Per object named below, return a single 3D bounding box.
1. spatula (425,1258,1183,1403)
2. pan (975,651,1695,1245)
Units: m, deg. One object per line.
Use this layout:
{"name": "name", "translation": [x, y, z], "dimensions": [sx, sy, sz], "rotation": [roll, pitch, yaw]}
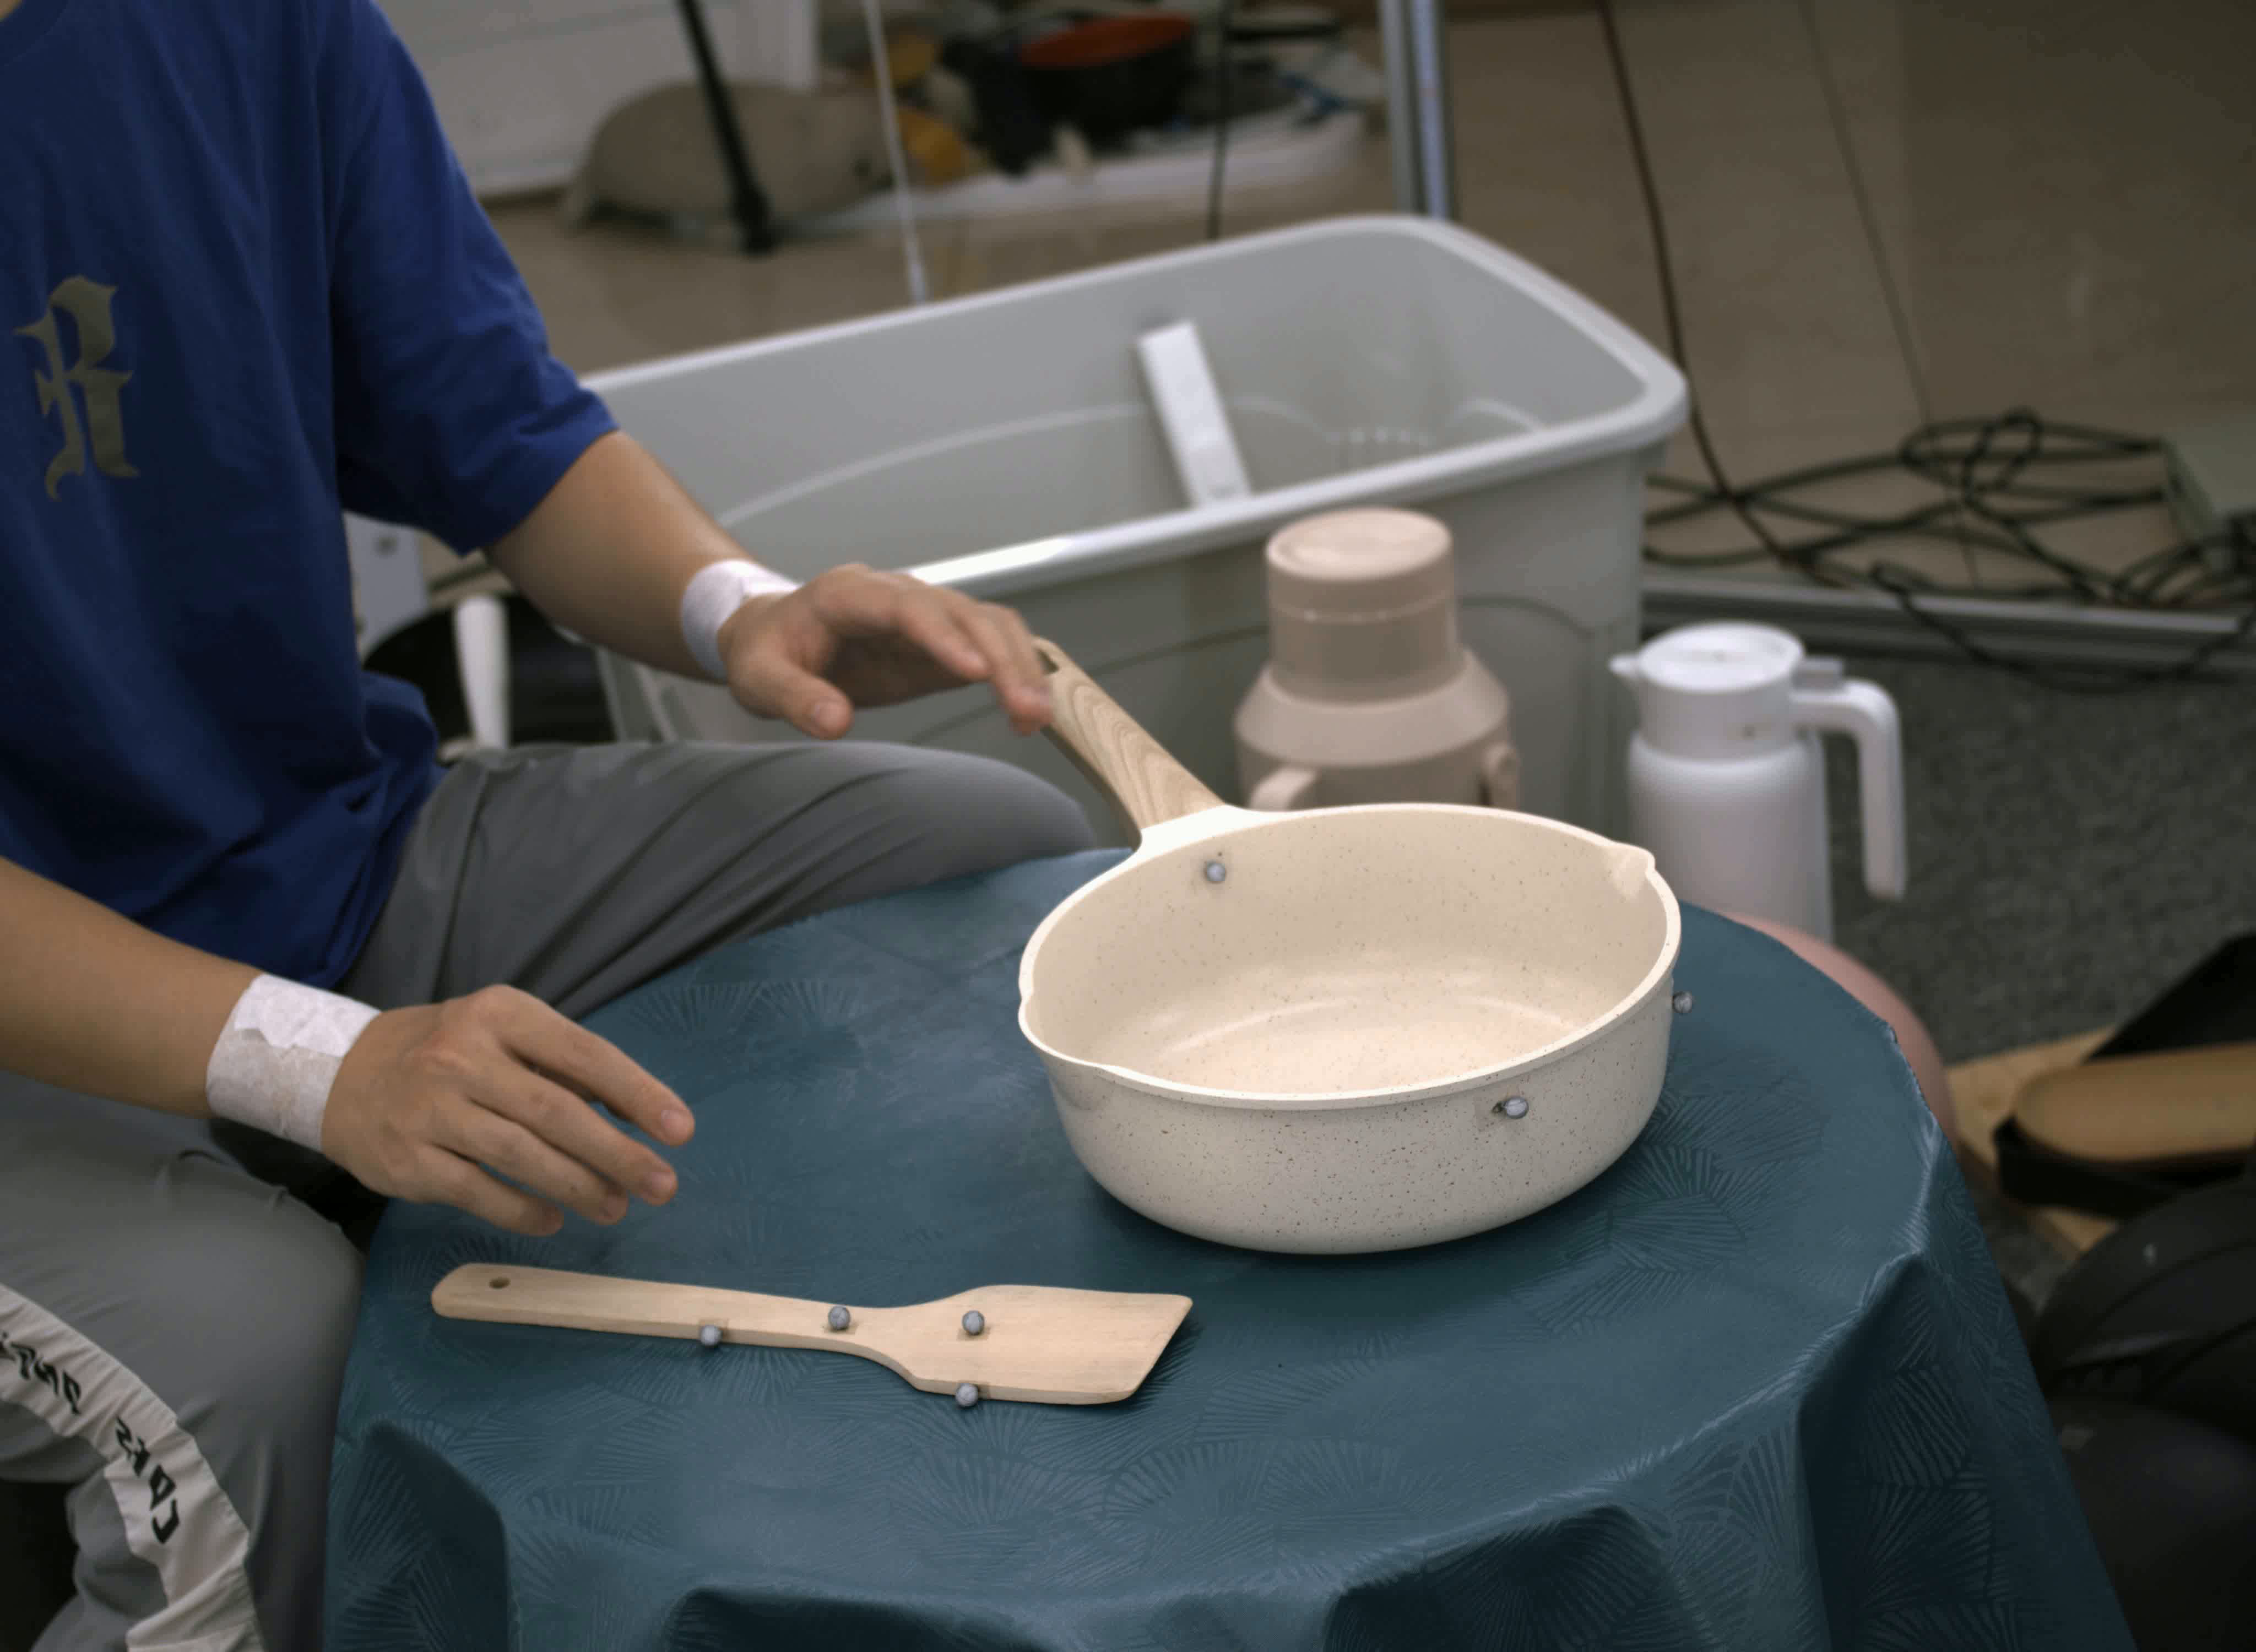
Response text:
{"name": "spatula", "translation": [-0.126, 0.180, 2.078], "dimensions": [0.292, 0.011, 0.071], "rotation": [4, 28, 20]}
{"name": "pan", "translation": [0.051, 0.041, 2.226], "dimensions": [0.262, 0.103, 0.430], "rotation": [-19, 27, -21]}
